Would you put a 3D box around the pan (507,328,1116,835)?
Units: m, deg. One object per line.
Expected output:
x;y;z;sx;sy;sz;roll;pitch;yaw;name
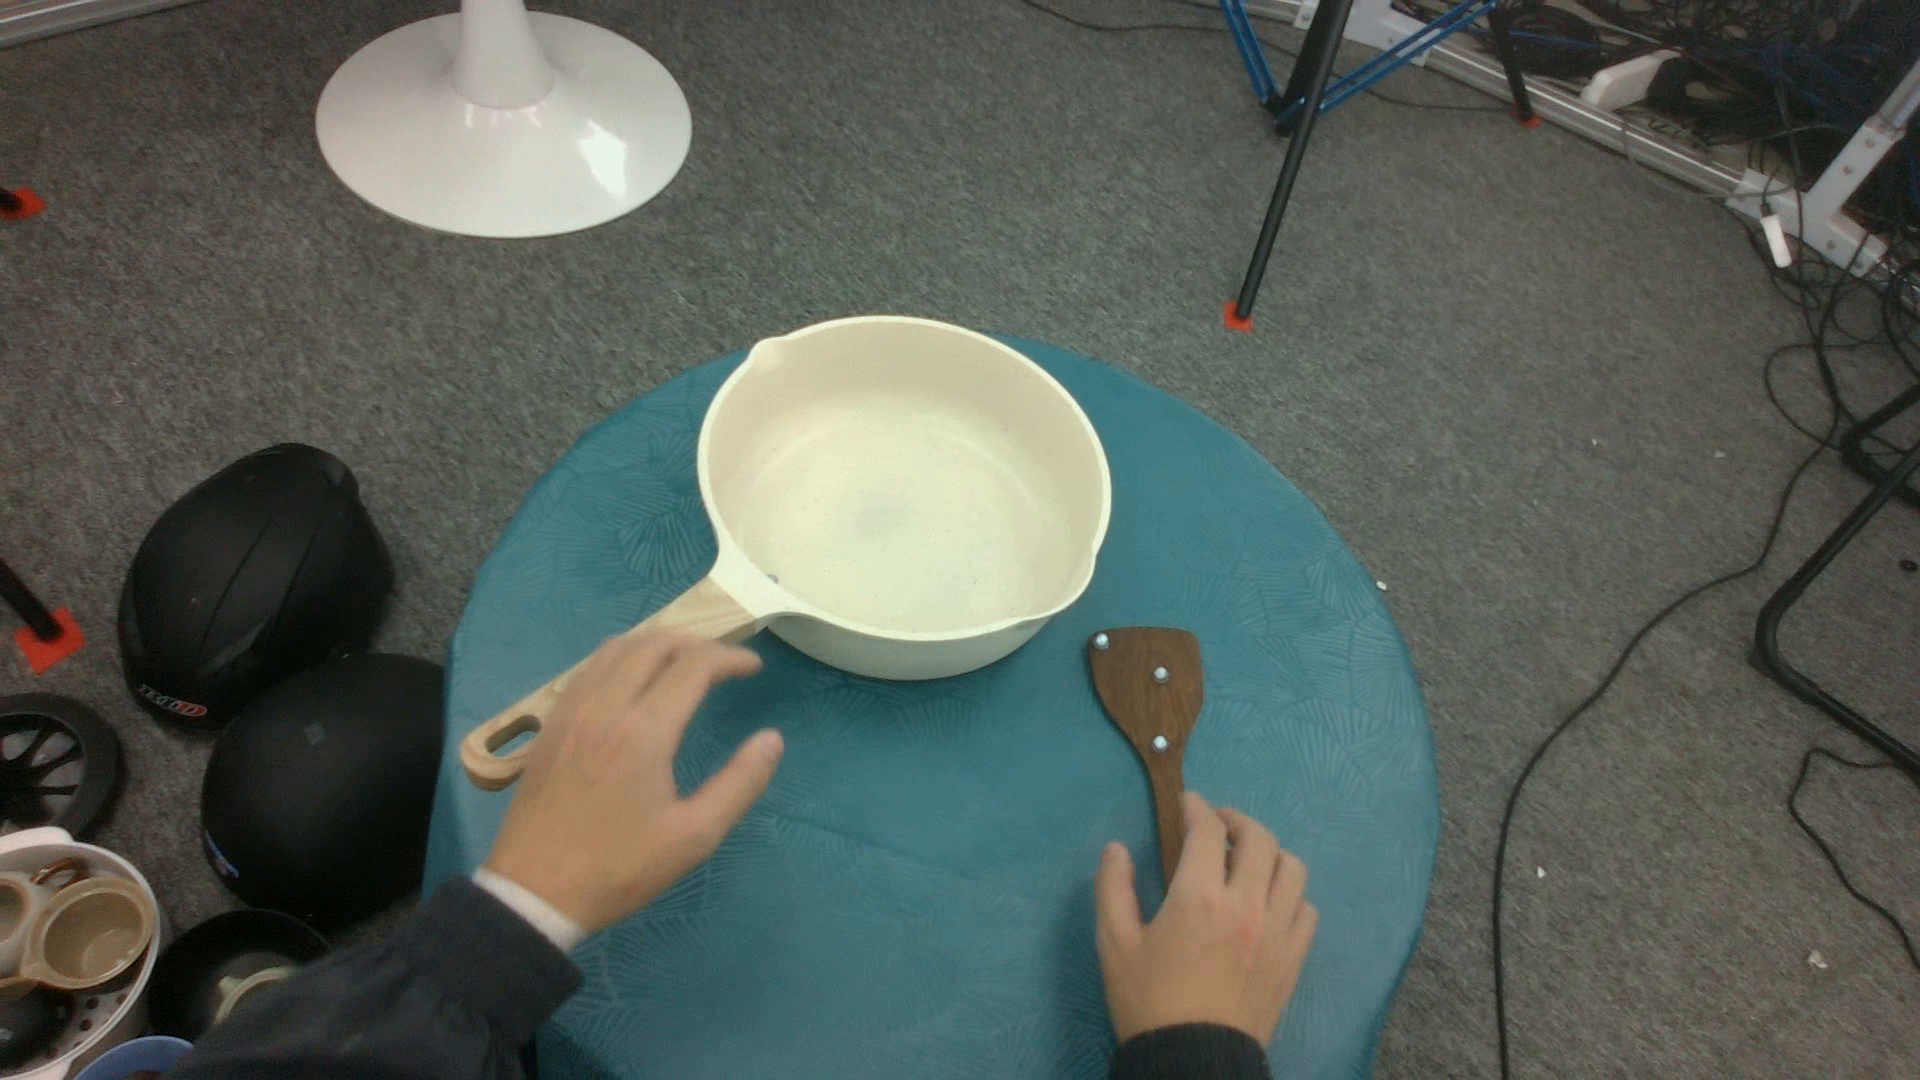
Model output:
-0.088;0.034;0.822;0.263;0.101;0.437;36;57;17;pan

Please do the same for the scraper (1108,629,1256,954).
0.141;0.144;0.825;0.076;0.011;0.212;-2;53;-8;scraper
